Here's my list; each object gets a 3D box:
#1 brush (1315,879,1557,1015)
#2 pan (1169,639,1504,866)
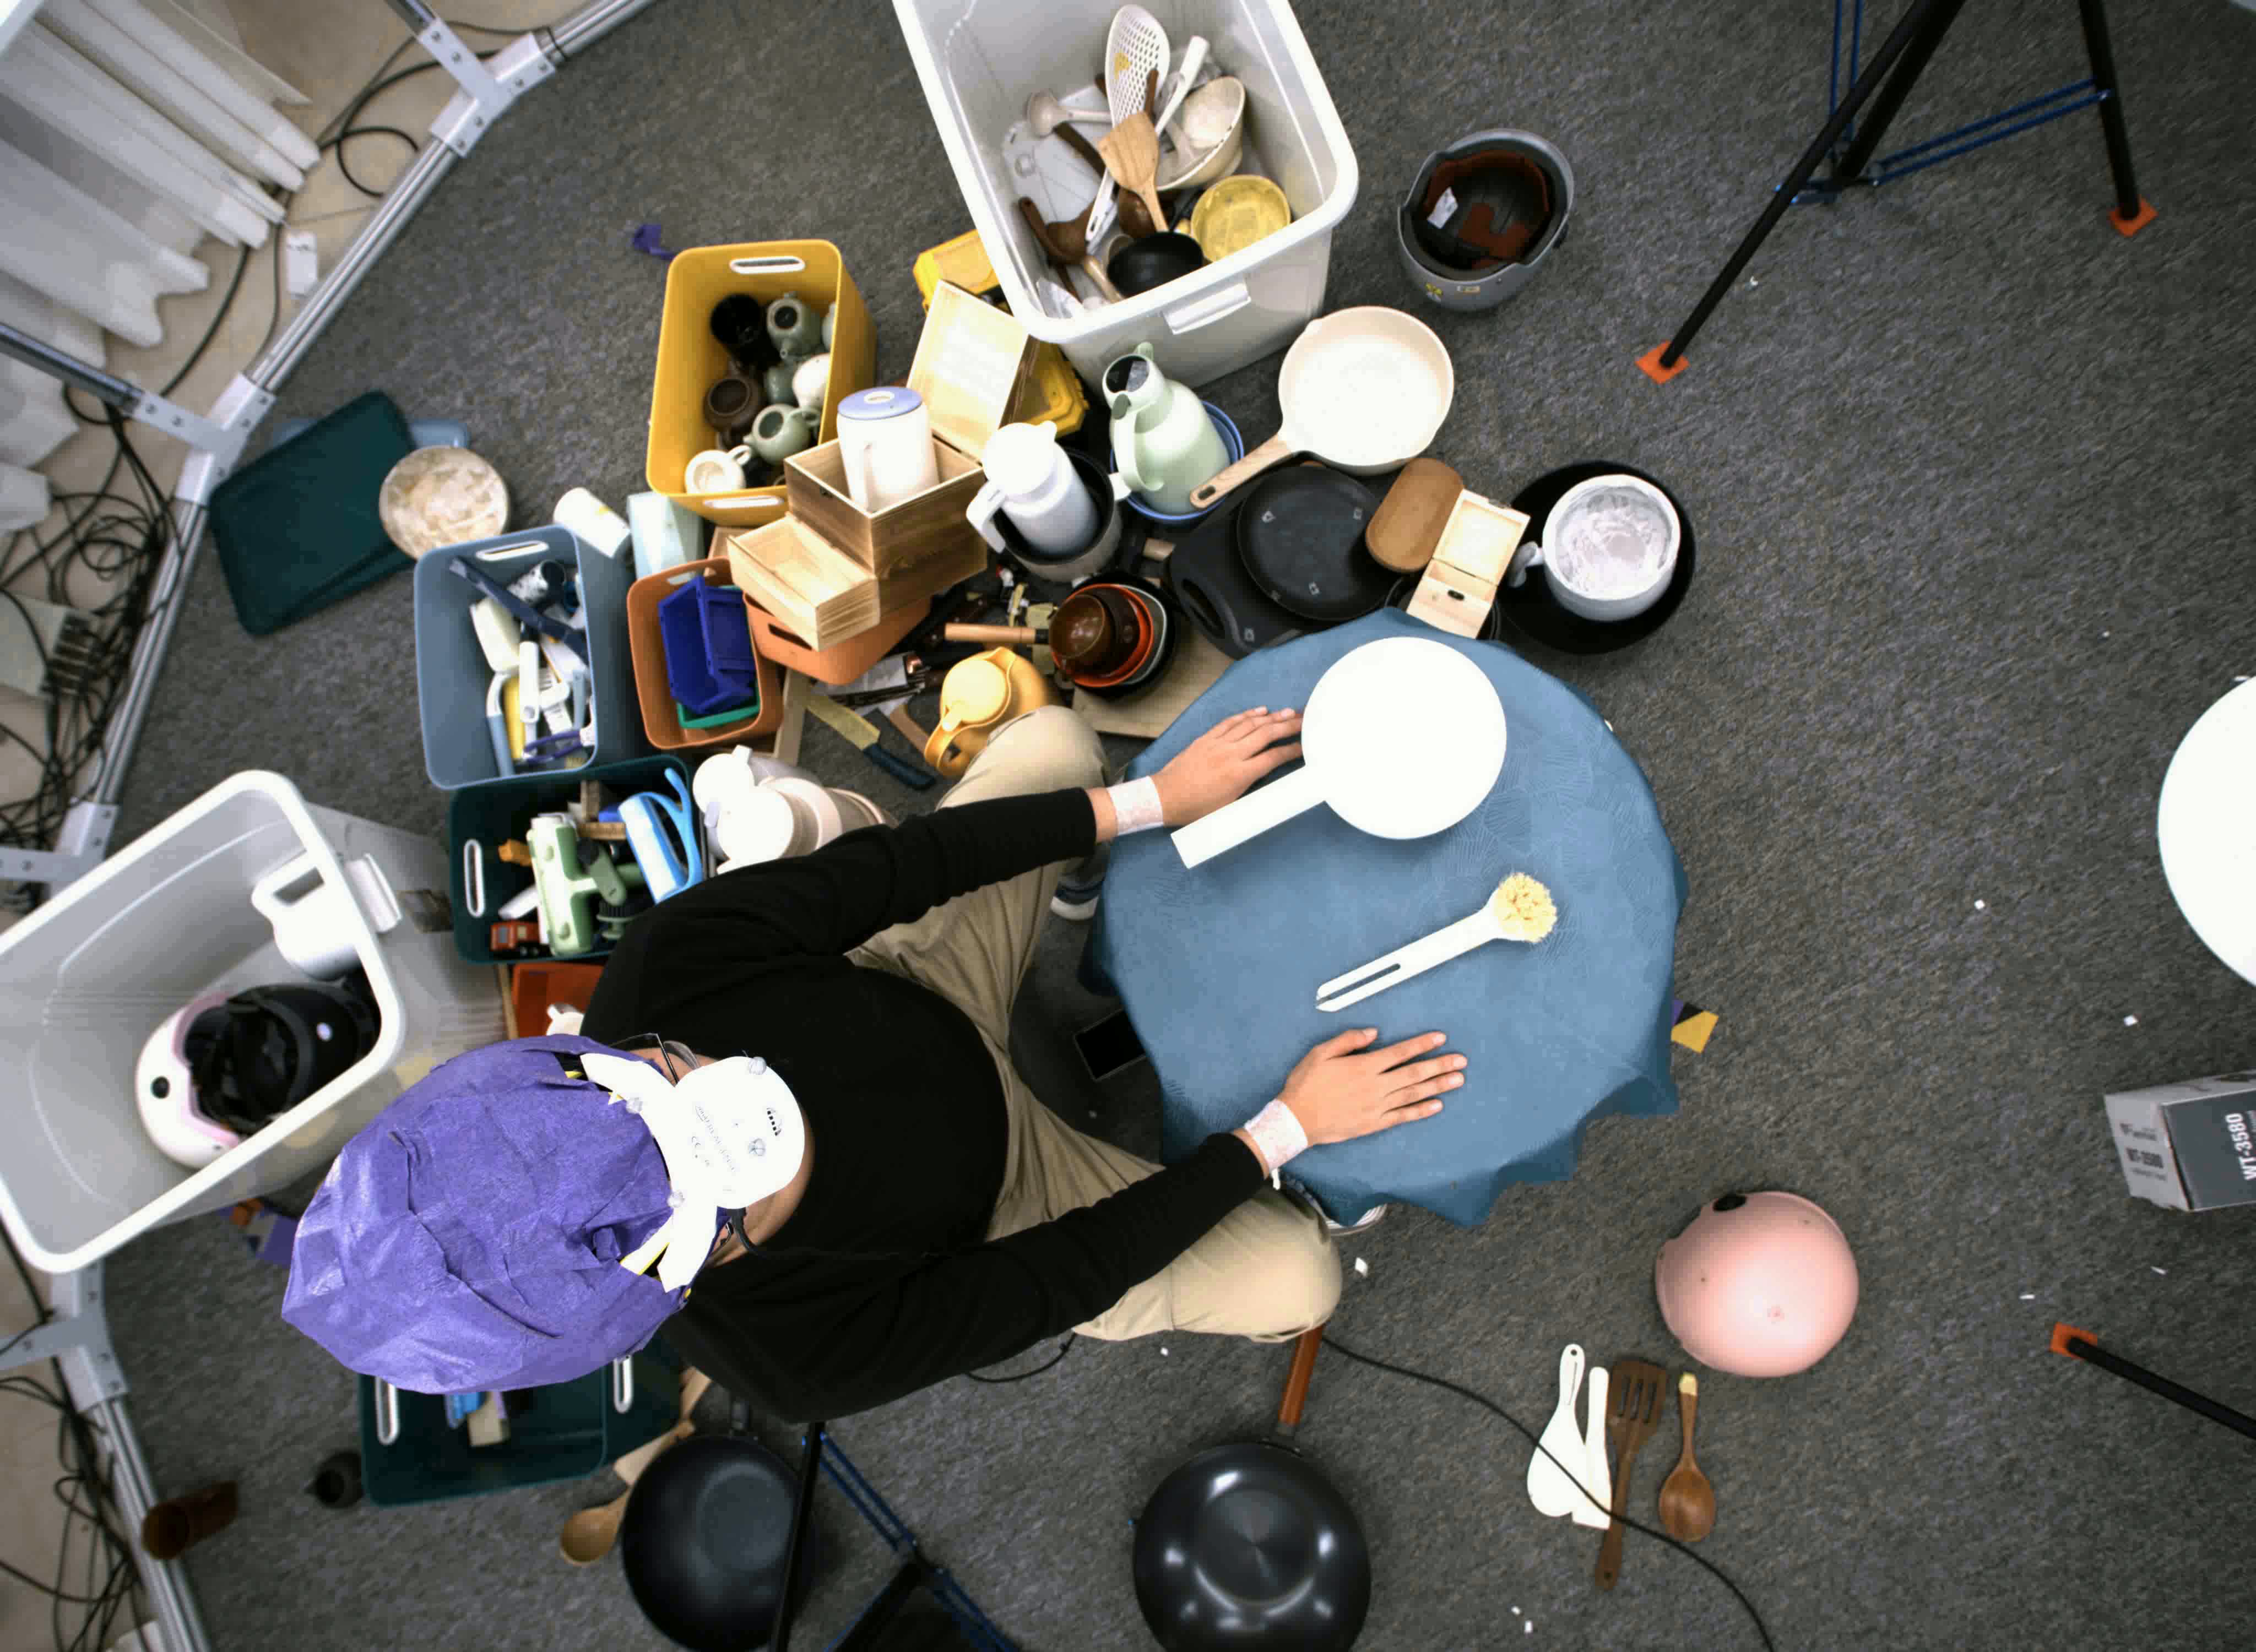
[{"bbox_3d":[0.314,0.131,1.422,0.268,0.056,0.068,-25,78,9],"label":"brush"},{"bbox_3d":[0.213,-0.051,1.429,0.357,0.102,0.200,-27,83,9],"label":"pan"}]
